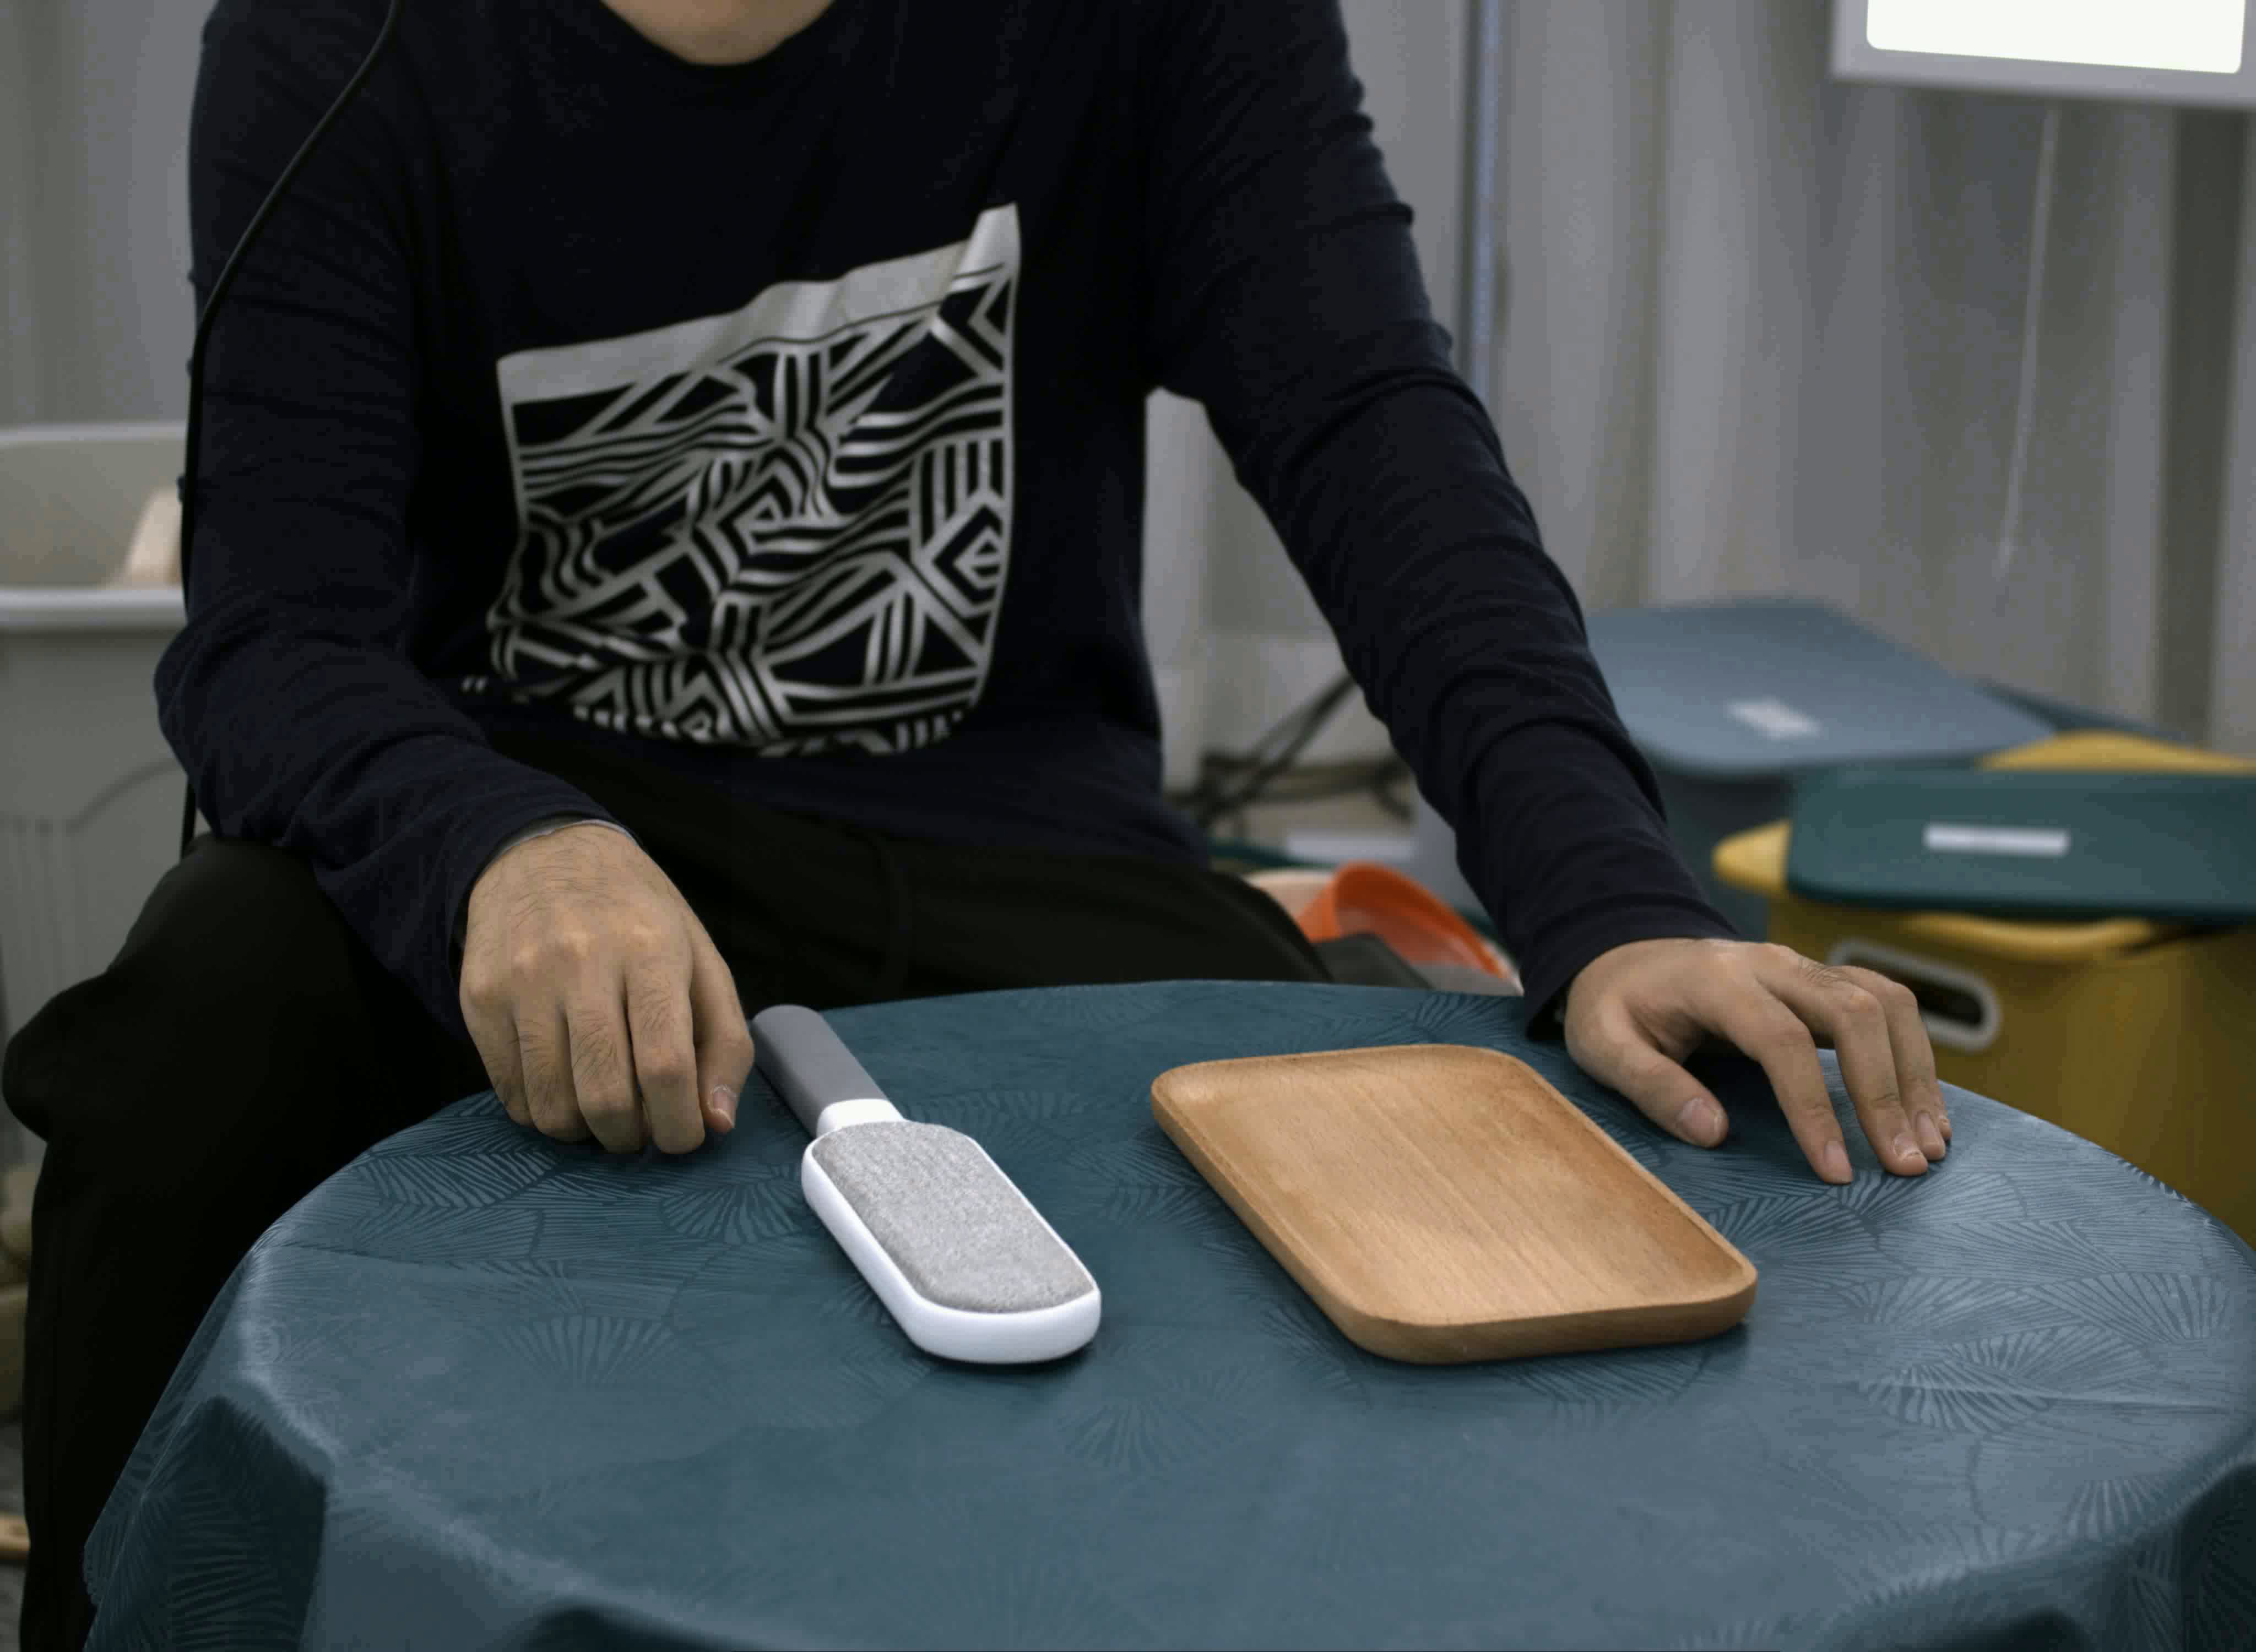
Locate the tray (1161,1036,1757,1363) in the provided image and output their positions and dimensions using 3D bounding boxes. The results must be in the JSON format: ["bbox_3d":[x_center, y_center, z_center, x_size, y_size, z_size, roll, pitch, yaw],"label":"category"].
[{"bbox_3d":[0.096,0.110,1.603,0.131,0.023,0.248,-1,15,-14],"label":"tray"}]

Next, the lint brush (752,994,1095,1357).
[{"bbox_3d":[-0.071,0.102,1.608,0.060,0.021,0.306,-9,17,-14],"label":"lint brush"}]
